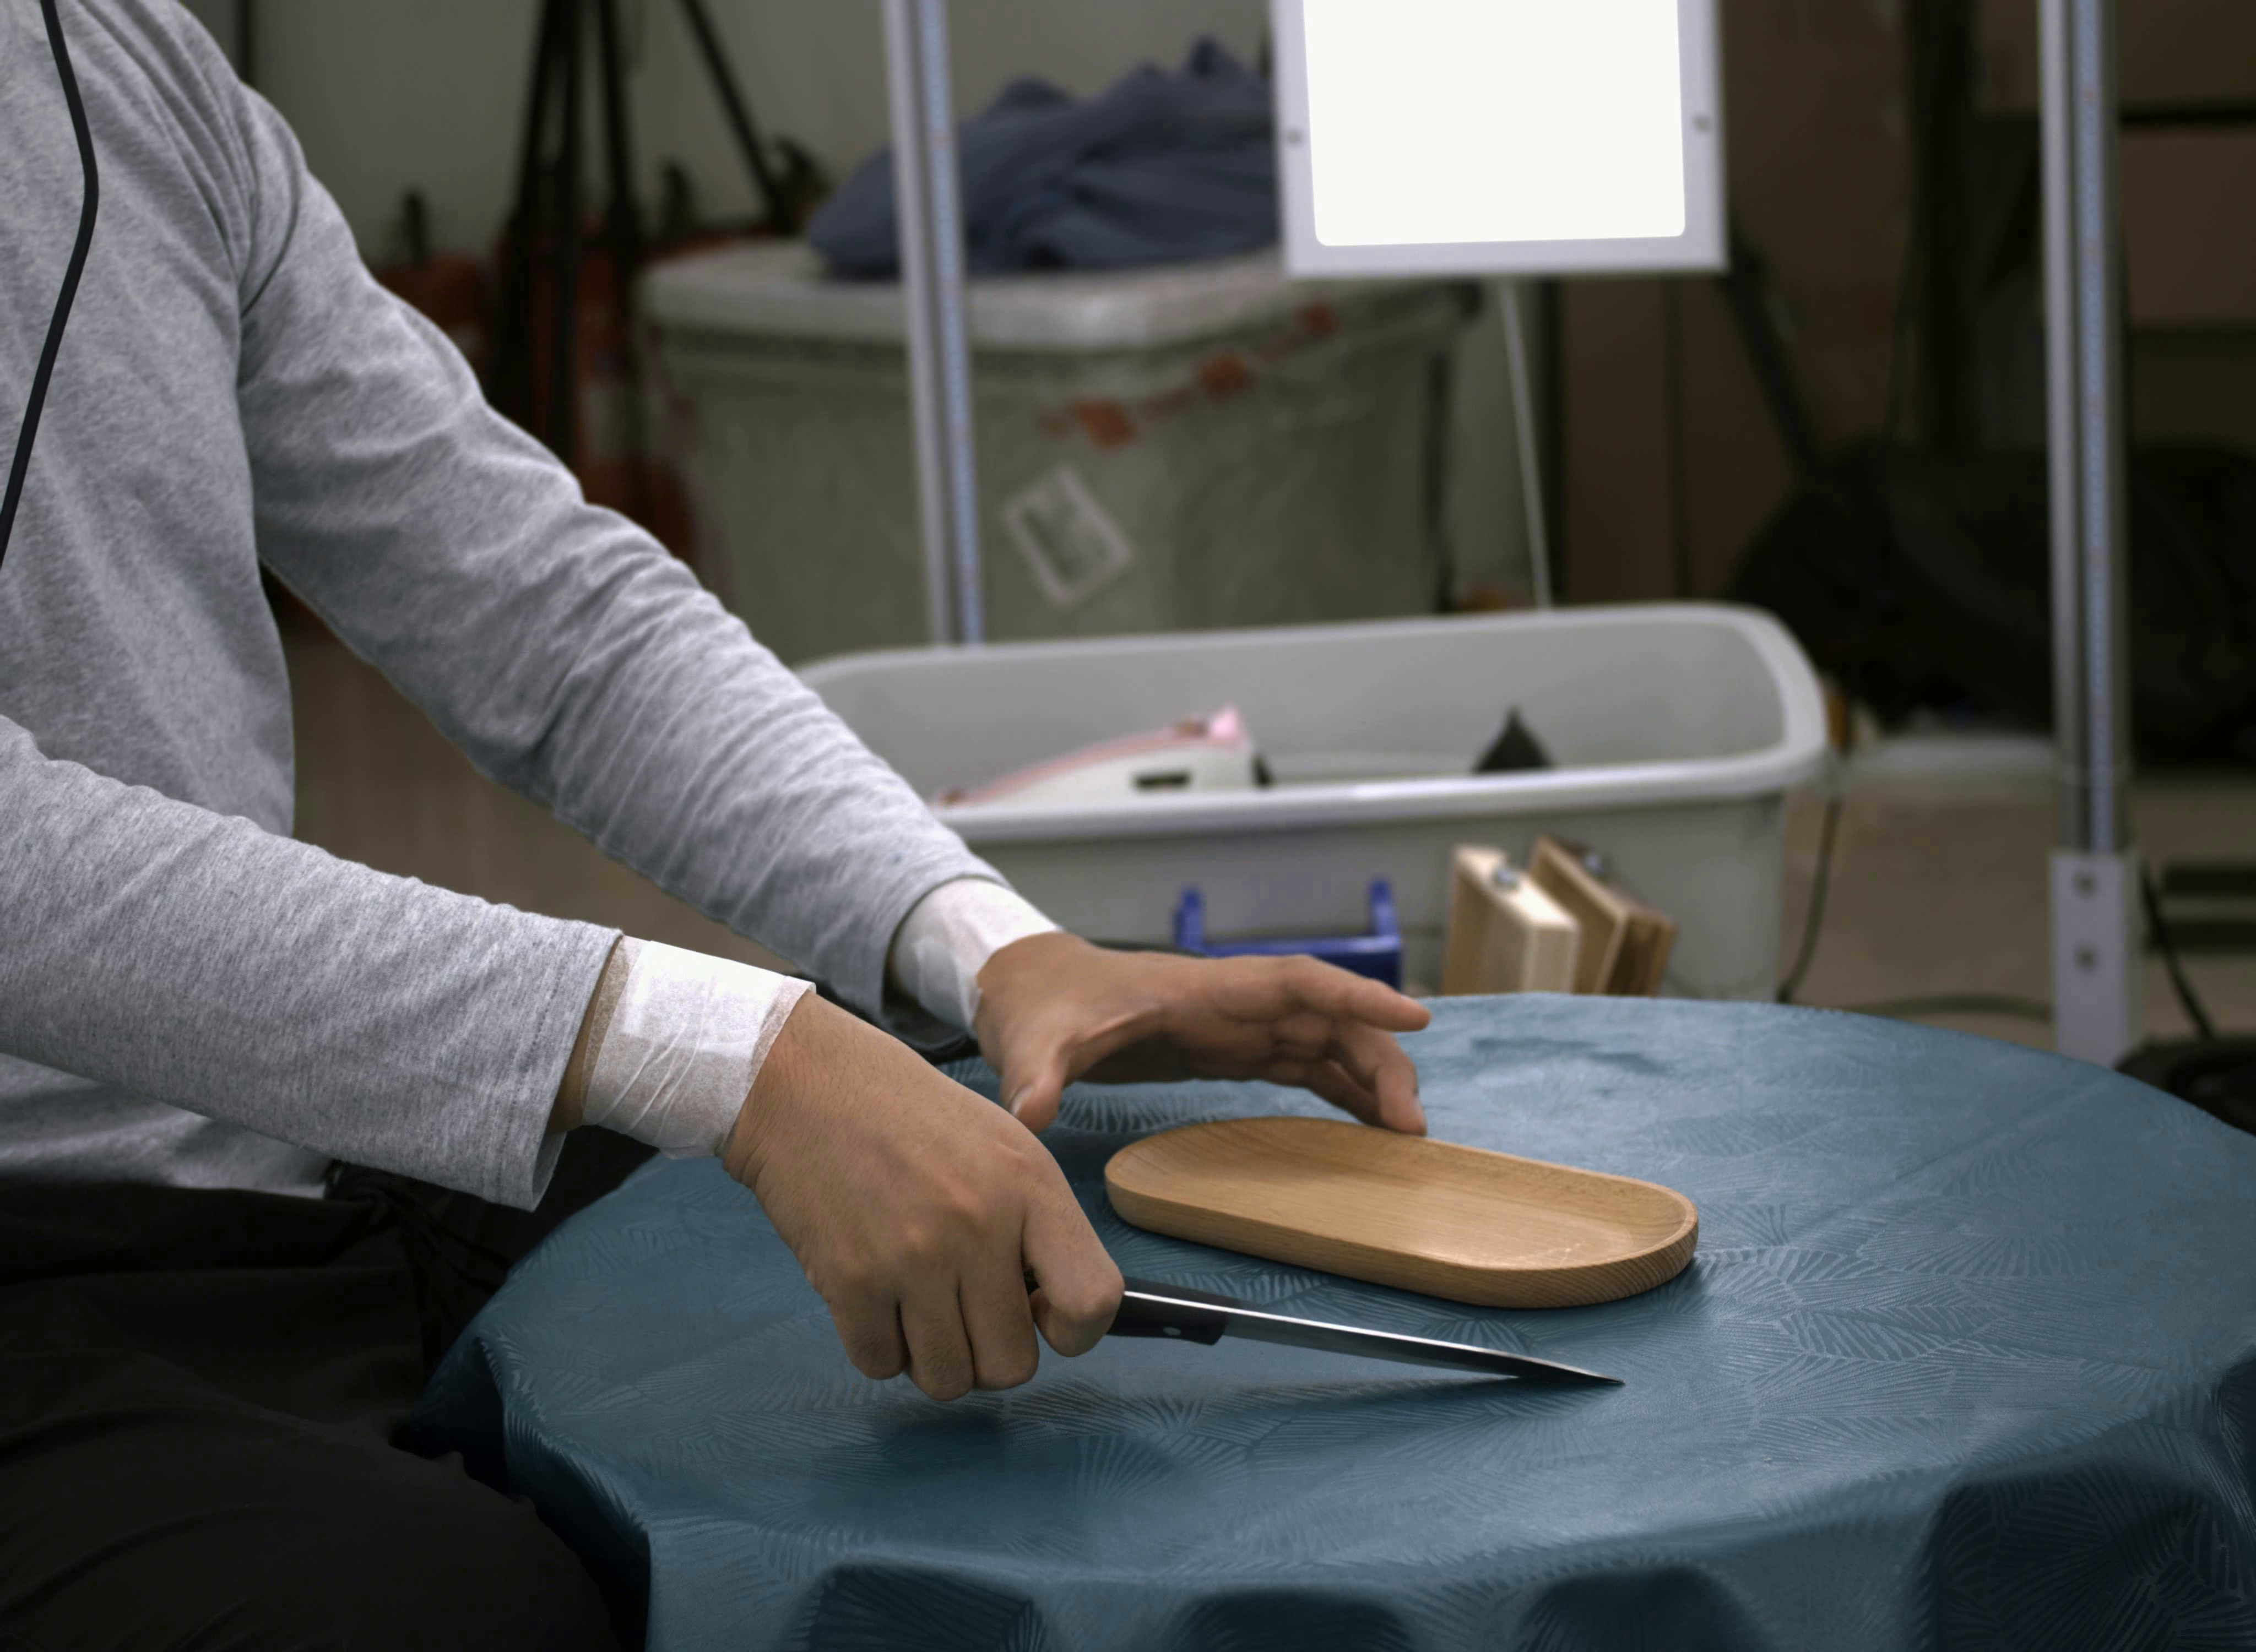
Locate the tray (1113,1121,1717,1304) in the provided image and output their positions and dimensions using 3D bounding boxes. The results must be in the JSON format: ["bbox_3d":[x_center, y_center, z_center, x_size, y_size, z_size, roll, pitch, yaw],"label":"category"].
[{"bbox_3d":[0.094,0.128,1.832,0.236,0.020,0.099,9,20,43],"label":"tray"}]

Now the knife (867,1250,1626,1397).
[{"bbox_3d":[0.036,0.155,1.690,0.239,0.016,0.024,8,-25,10],"label":"knife"}]
